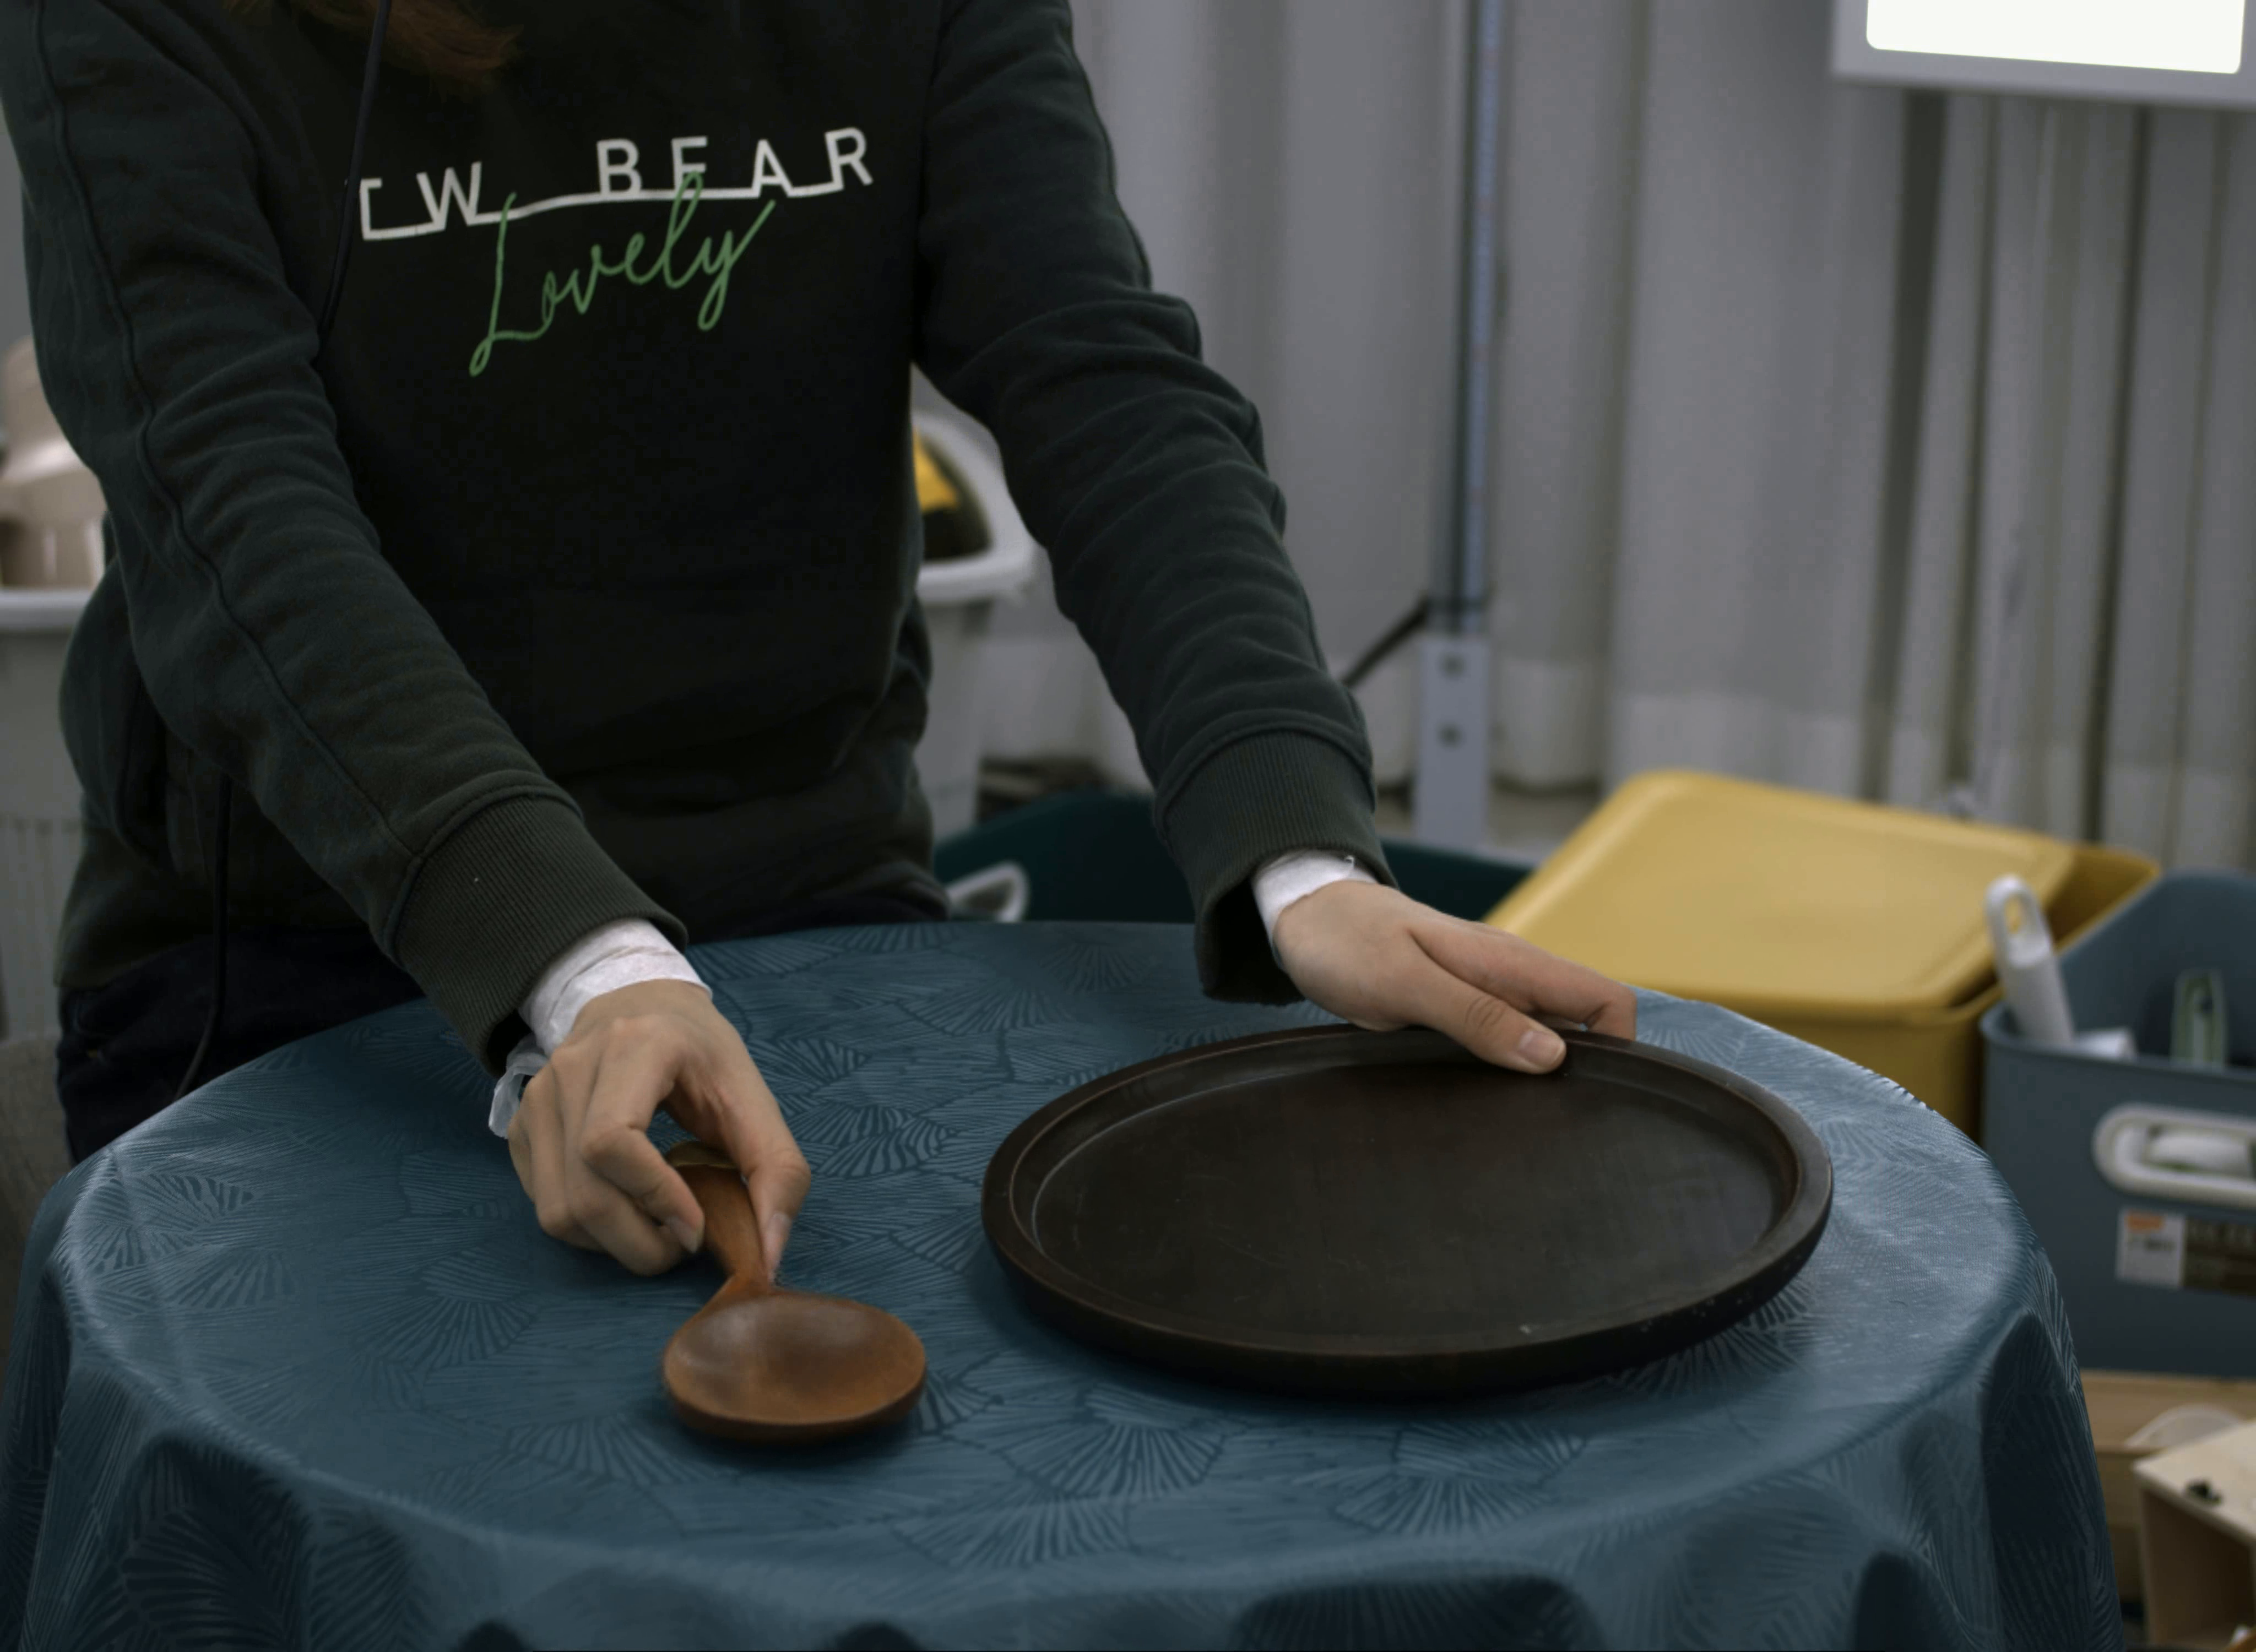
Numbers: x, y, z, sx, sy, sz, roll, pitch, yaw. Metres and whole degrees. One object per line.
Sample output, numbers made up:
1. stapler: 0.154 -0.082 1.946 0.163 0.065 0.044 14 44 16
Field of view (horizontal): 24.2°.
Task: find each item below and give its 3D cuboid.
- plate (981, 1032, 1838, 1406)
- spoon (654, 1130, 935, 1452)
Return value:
1. plate: 0.083 0.113 1.558 0.254 0.029 0.253 0 20 1
2. spoon: -0.106 0.133 1.503 0.075 0.017 0.213 -6 20 -13
